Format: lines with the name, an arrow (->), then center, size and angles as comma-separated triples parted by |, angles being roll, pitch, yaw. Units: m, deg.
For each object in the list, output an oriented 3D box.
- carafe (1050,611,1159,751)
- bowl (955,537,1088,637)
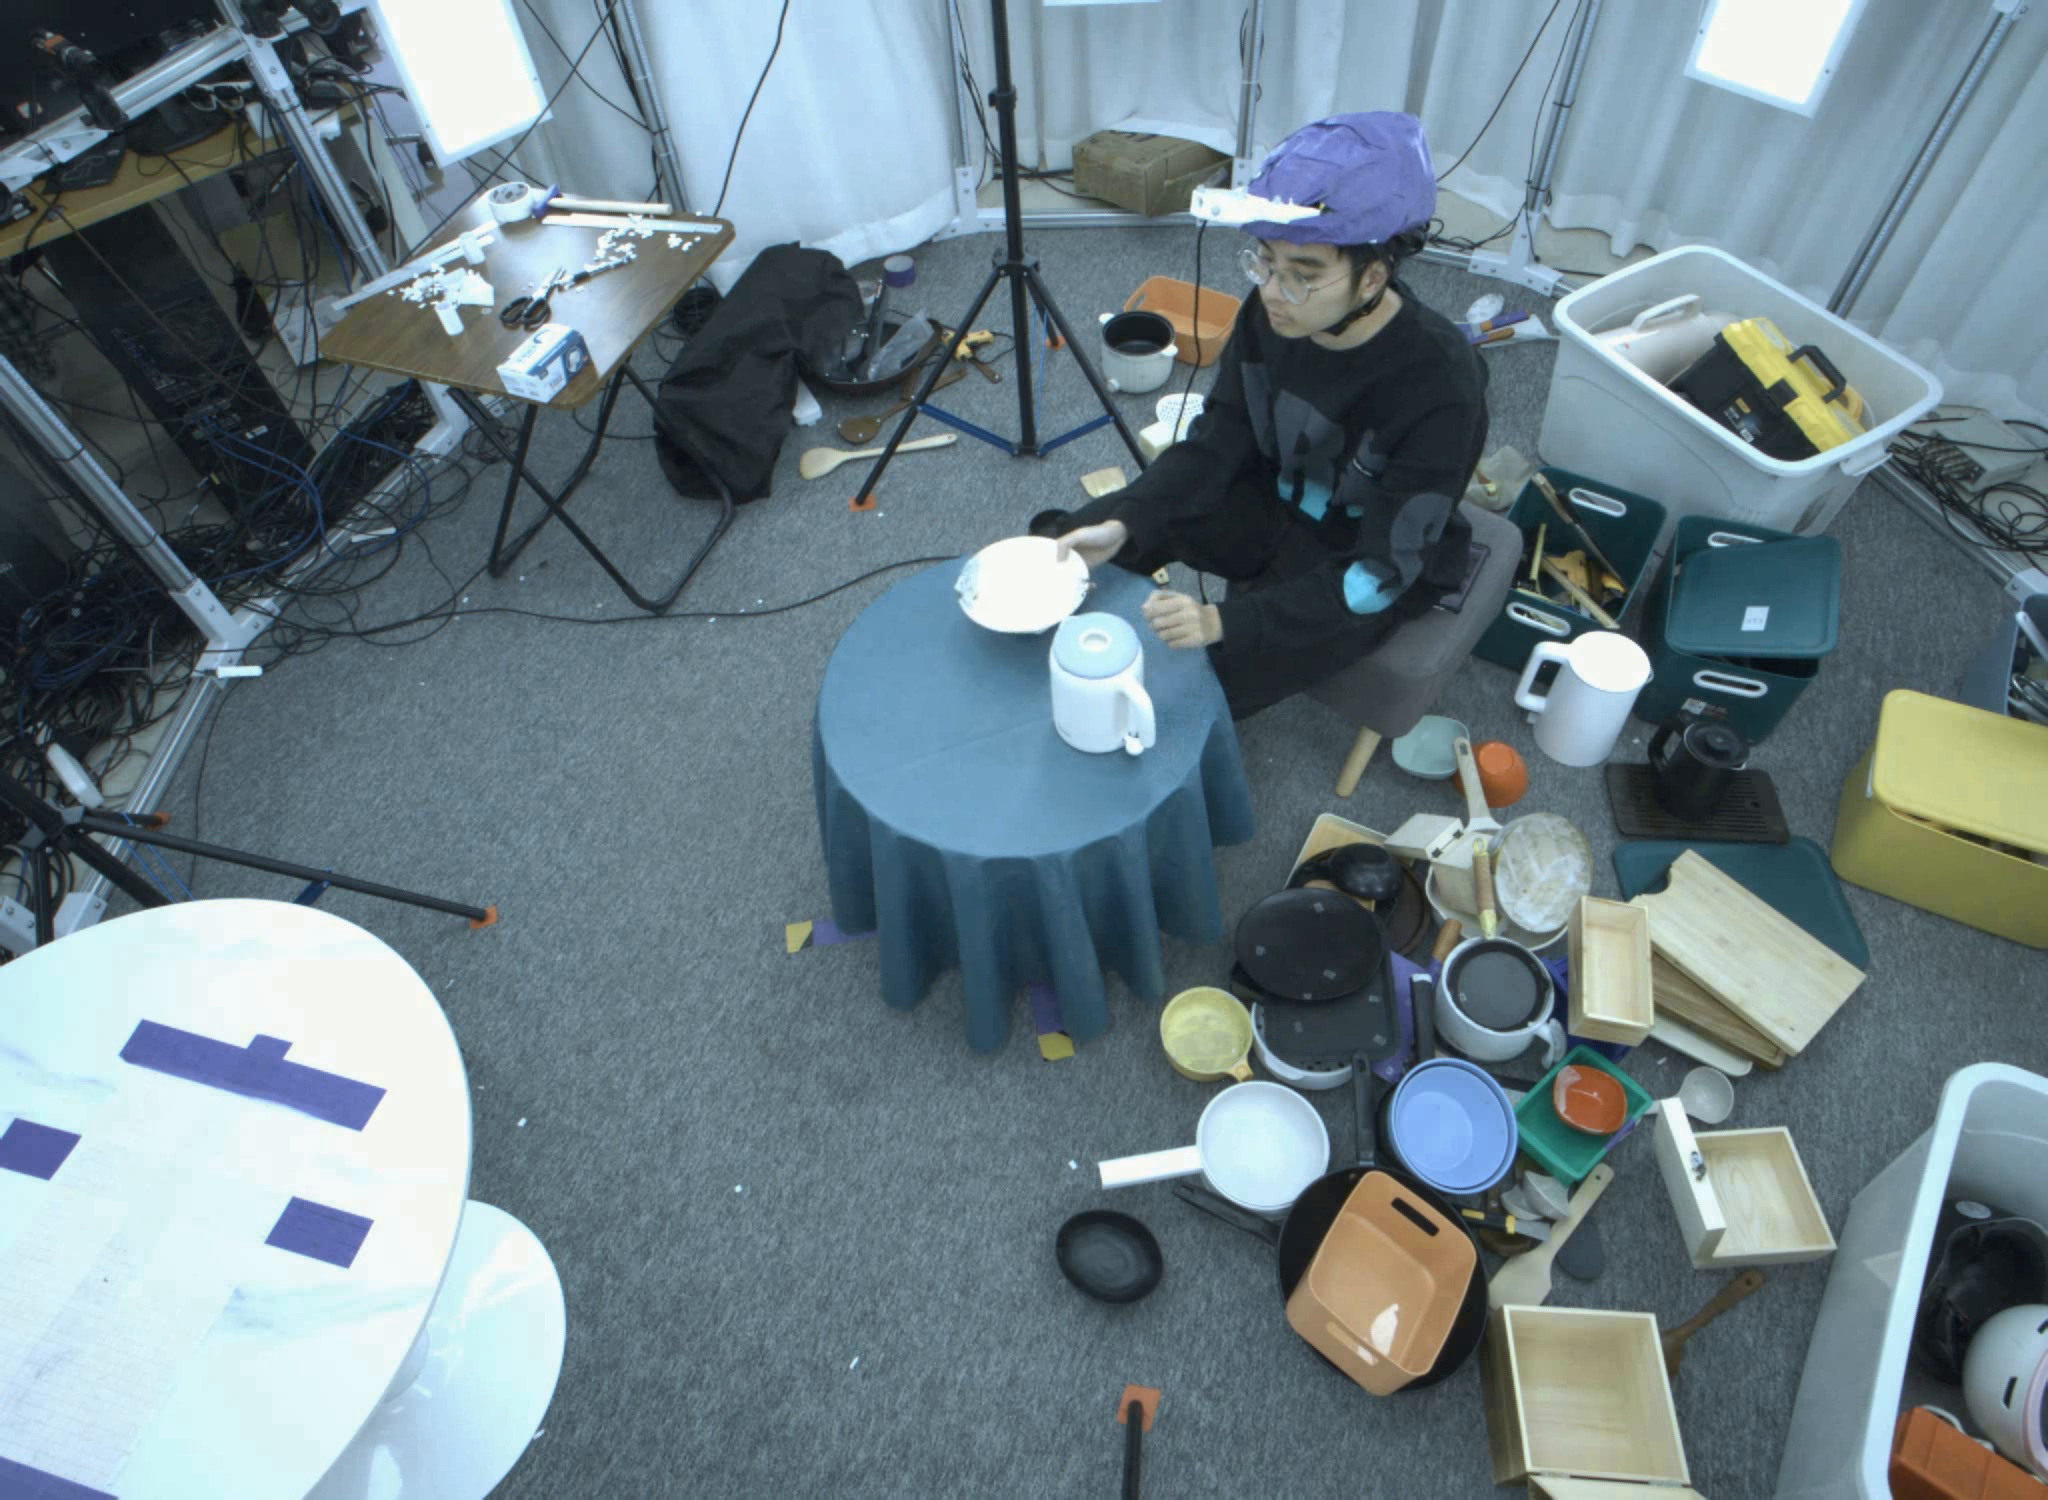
carafe -> 0.119, -0.082, 1.732 | 0.133, 0.184, 0.188 | -37, 63, -19
bowl -> -0.003, -0.232, 1.894 | 0.204, 0.079, 0.202 | 0, 52, 2
